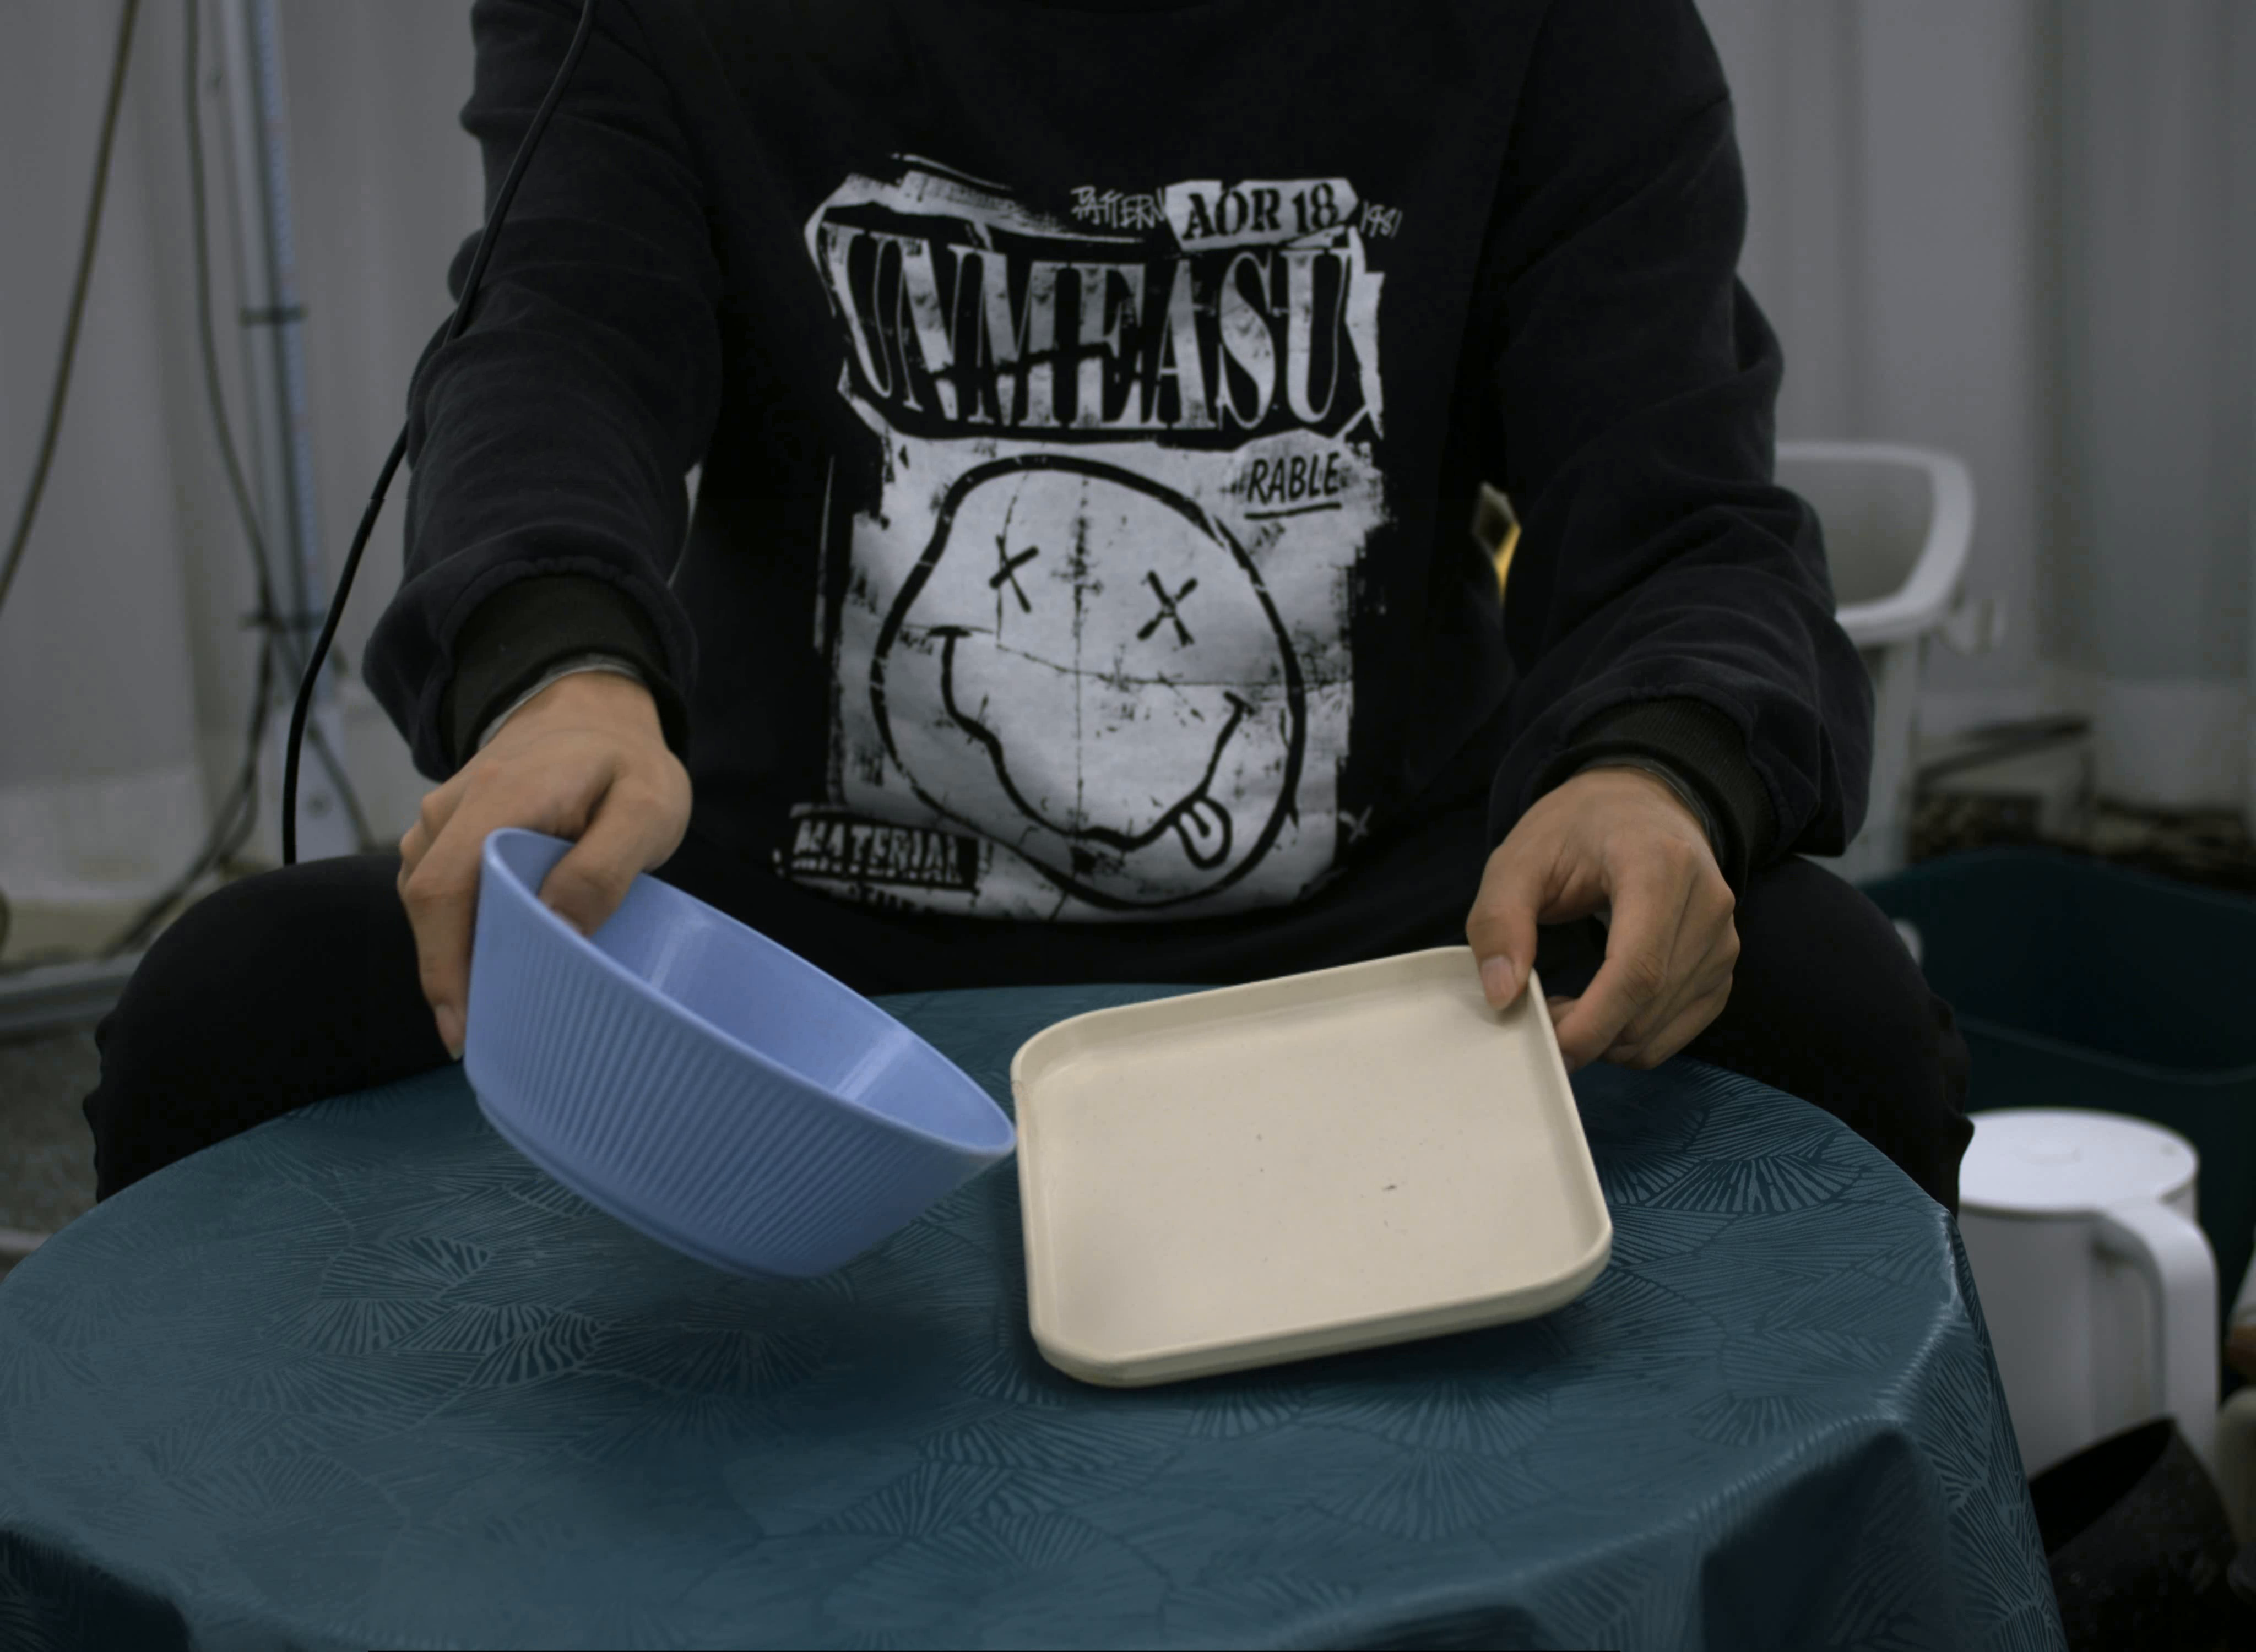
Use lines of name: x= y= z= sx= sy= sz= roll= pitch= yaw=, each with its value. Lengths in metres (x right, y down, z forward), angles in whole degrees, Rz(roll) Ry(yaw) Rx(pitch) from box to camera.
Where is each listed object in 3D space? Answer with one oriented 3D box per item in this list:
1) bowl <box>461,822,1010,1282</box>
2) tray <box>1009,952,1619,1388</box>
bowl: x=-0.124 y=0.072 z=1.570 sx=0.175 sy=0.070 sz=0.177 roll=30 pitch=7 yaw=-4
tray: x=0.052 y=0.102 z=1.643 sx=0.171 sy=0.017 sz=0.242 roll=-9 pitch=22 yaw=0
